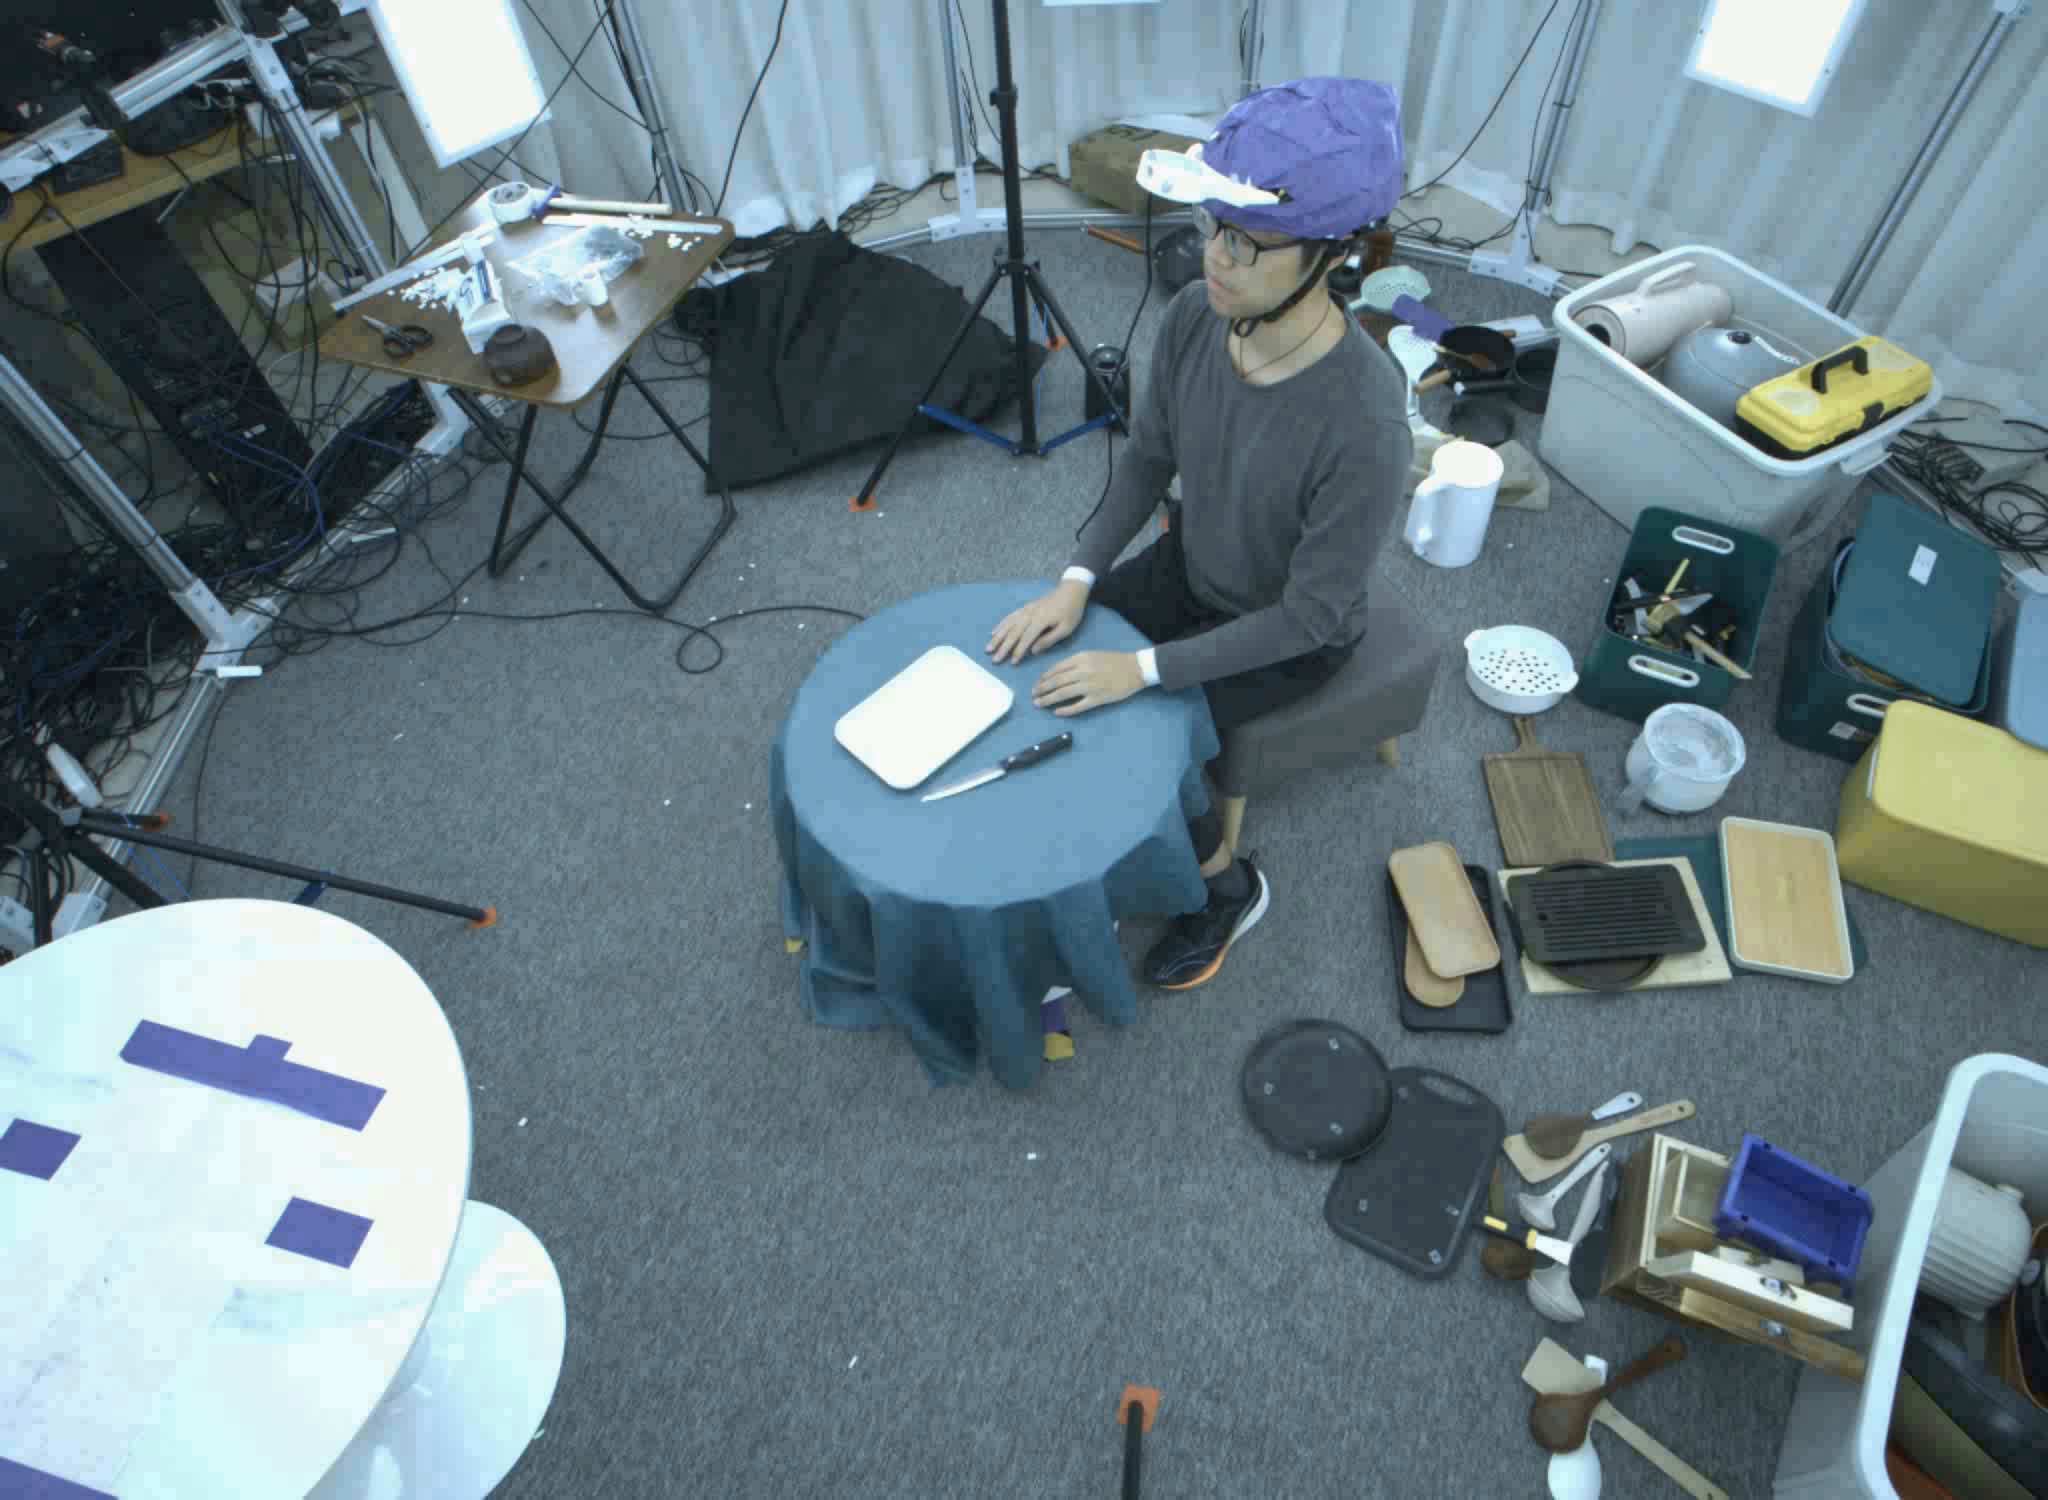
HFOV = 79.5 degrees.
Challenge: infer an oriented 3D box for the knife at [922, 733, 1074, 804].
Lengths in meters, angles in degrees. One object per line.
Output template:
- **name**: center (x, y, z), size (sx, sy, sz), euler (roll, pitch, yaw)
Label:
- **knife**: center (-0.039, 0.026, 1.770), size (0.240, 0.016, 0.024), euler (-23, 54, -12)

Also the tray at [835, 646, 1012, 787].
- **tray**: center (-0.148, -0.051, 1.824), size (0.168, 0.017, 0.241), euler (38, 63, 25)
